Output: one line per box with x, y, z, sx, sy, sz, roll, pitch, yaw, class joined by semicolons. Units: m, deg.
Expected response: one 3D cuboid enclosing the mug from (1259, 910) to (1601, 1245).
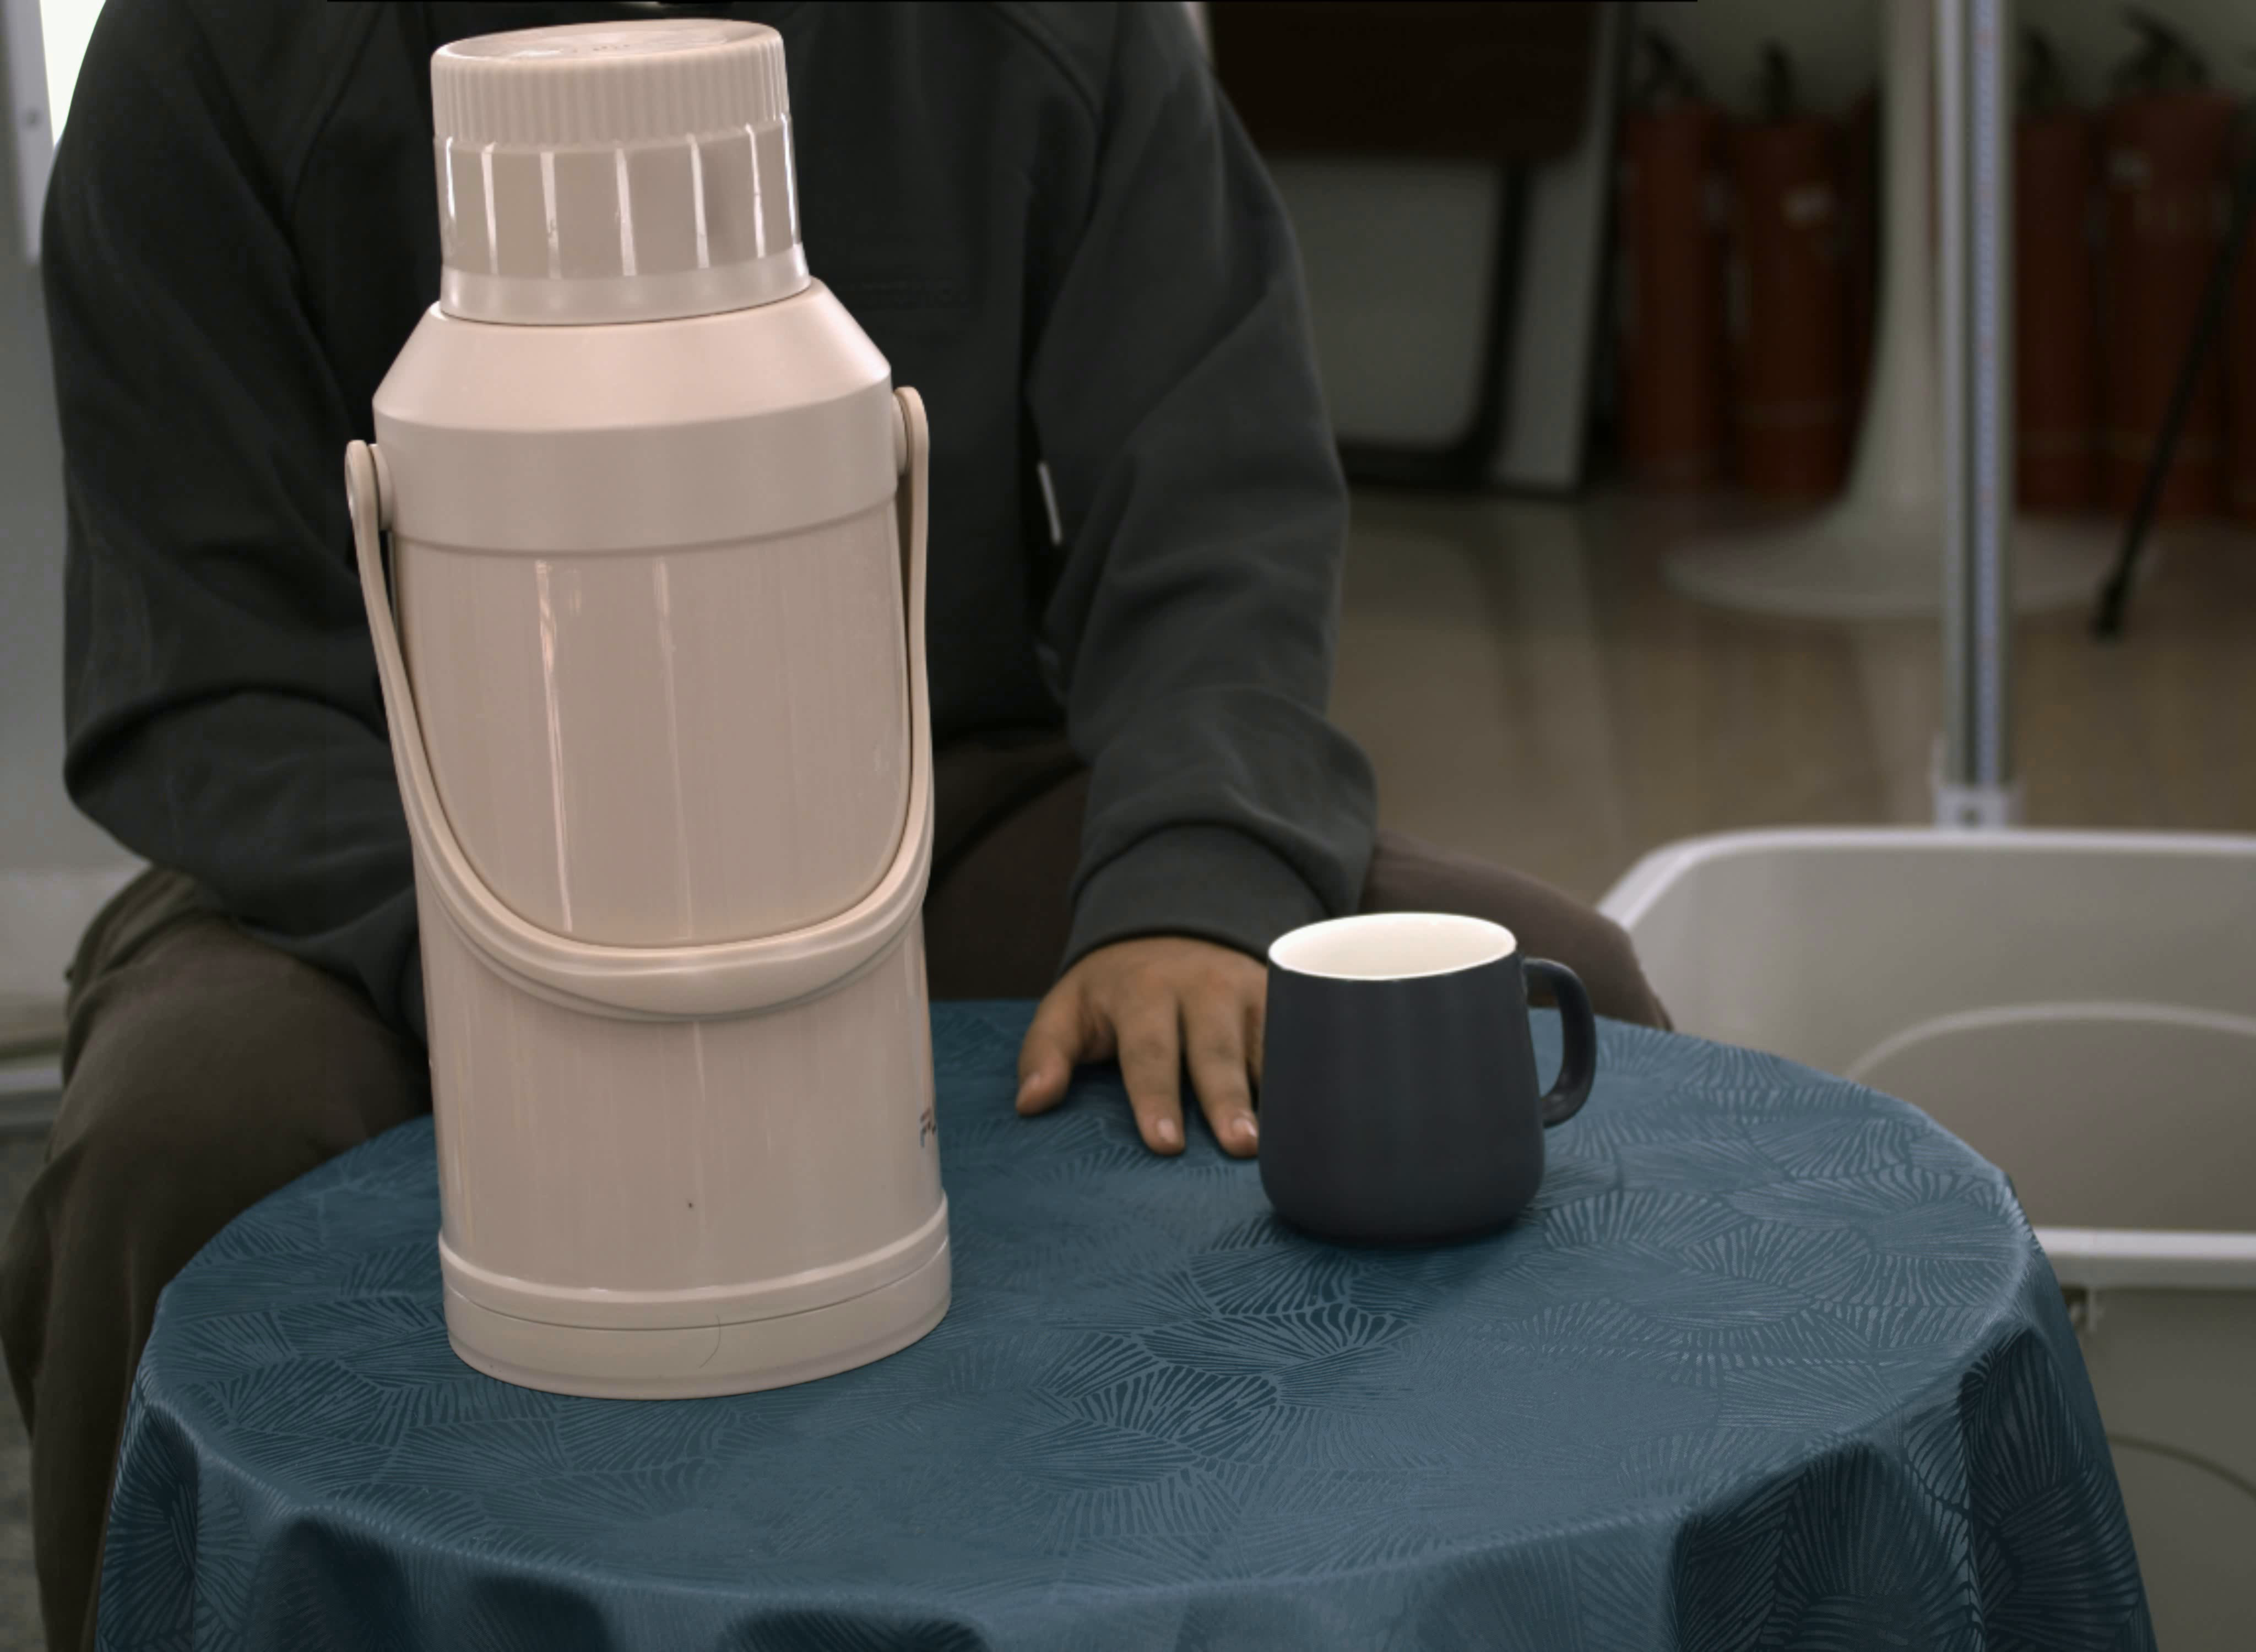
0.100;0.078;1.731;0.120;0.091;0.094;-11;15;-27;mug

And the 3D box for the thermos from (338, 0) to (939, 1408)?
-0.147;-0.043;1.647;0.172;0.411;0.209;-7;14;-15;thermos
